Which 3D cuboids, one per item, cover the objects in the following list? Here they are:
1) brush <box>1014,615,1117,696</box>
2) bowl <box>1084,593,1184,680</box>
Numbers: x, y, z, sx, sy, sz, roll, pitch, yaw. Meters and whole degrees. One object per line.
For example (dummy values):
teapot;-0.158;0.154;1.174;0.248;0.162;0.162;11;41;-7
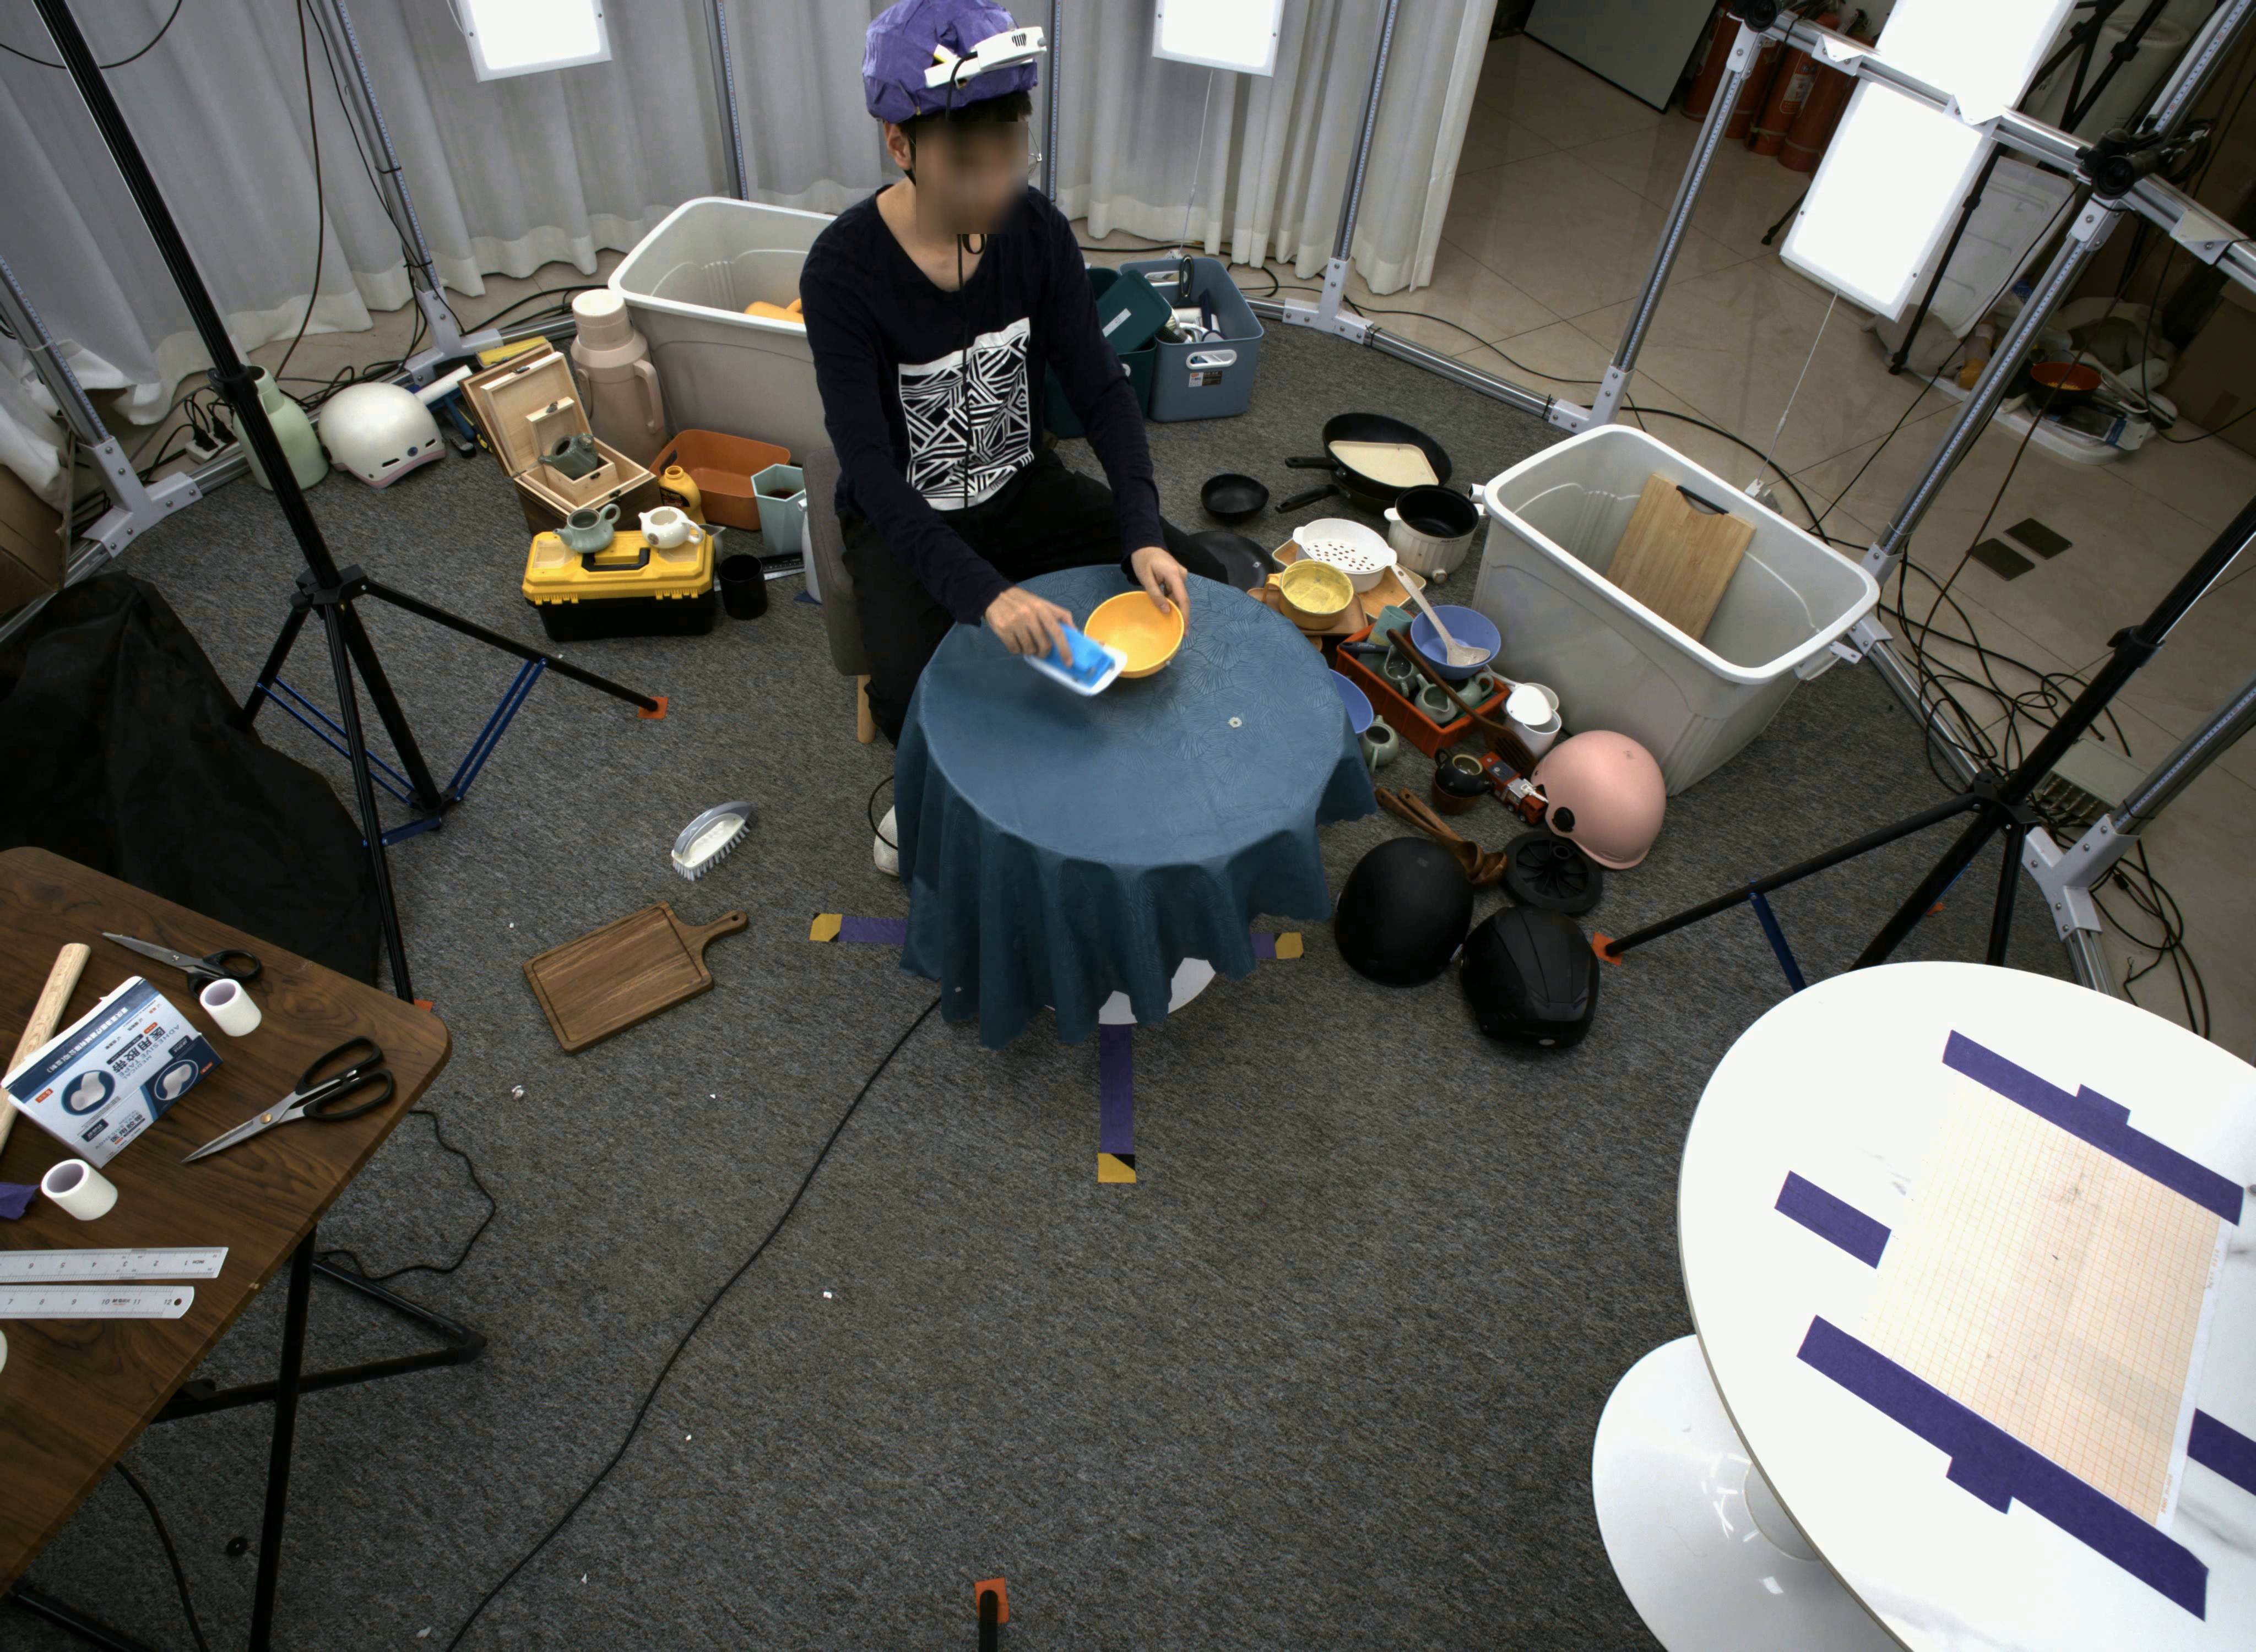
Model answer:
brush;-0.087;-0.239;1.755;0.084;0.054;0.146;-41;59;-21
bowl;0.011;-0.262;1.849;0.145;0.059;0.148;-3;58;5
